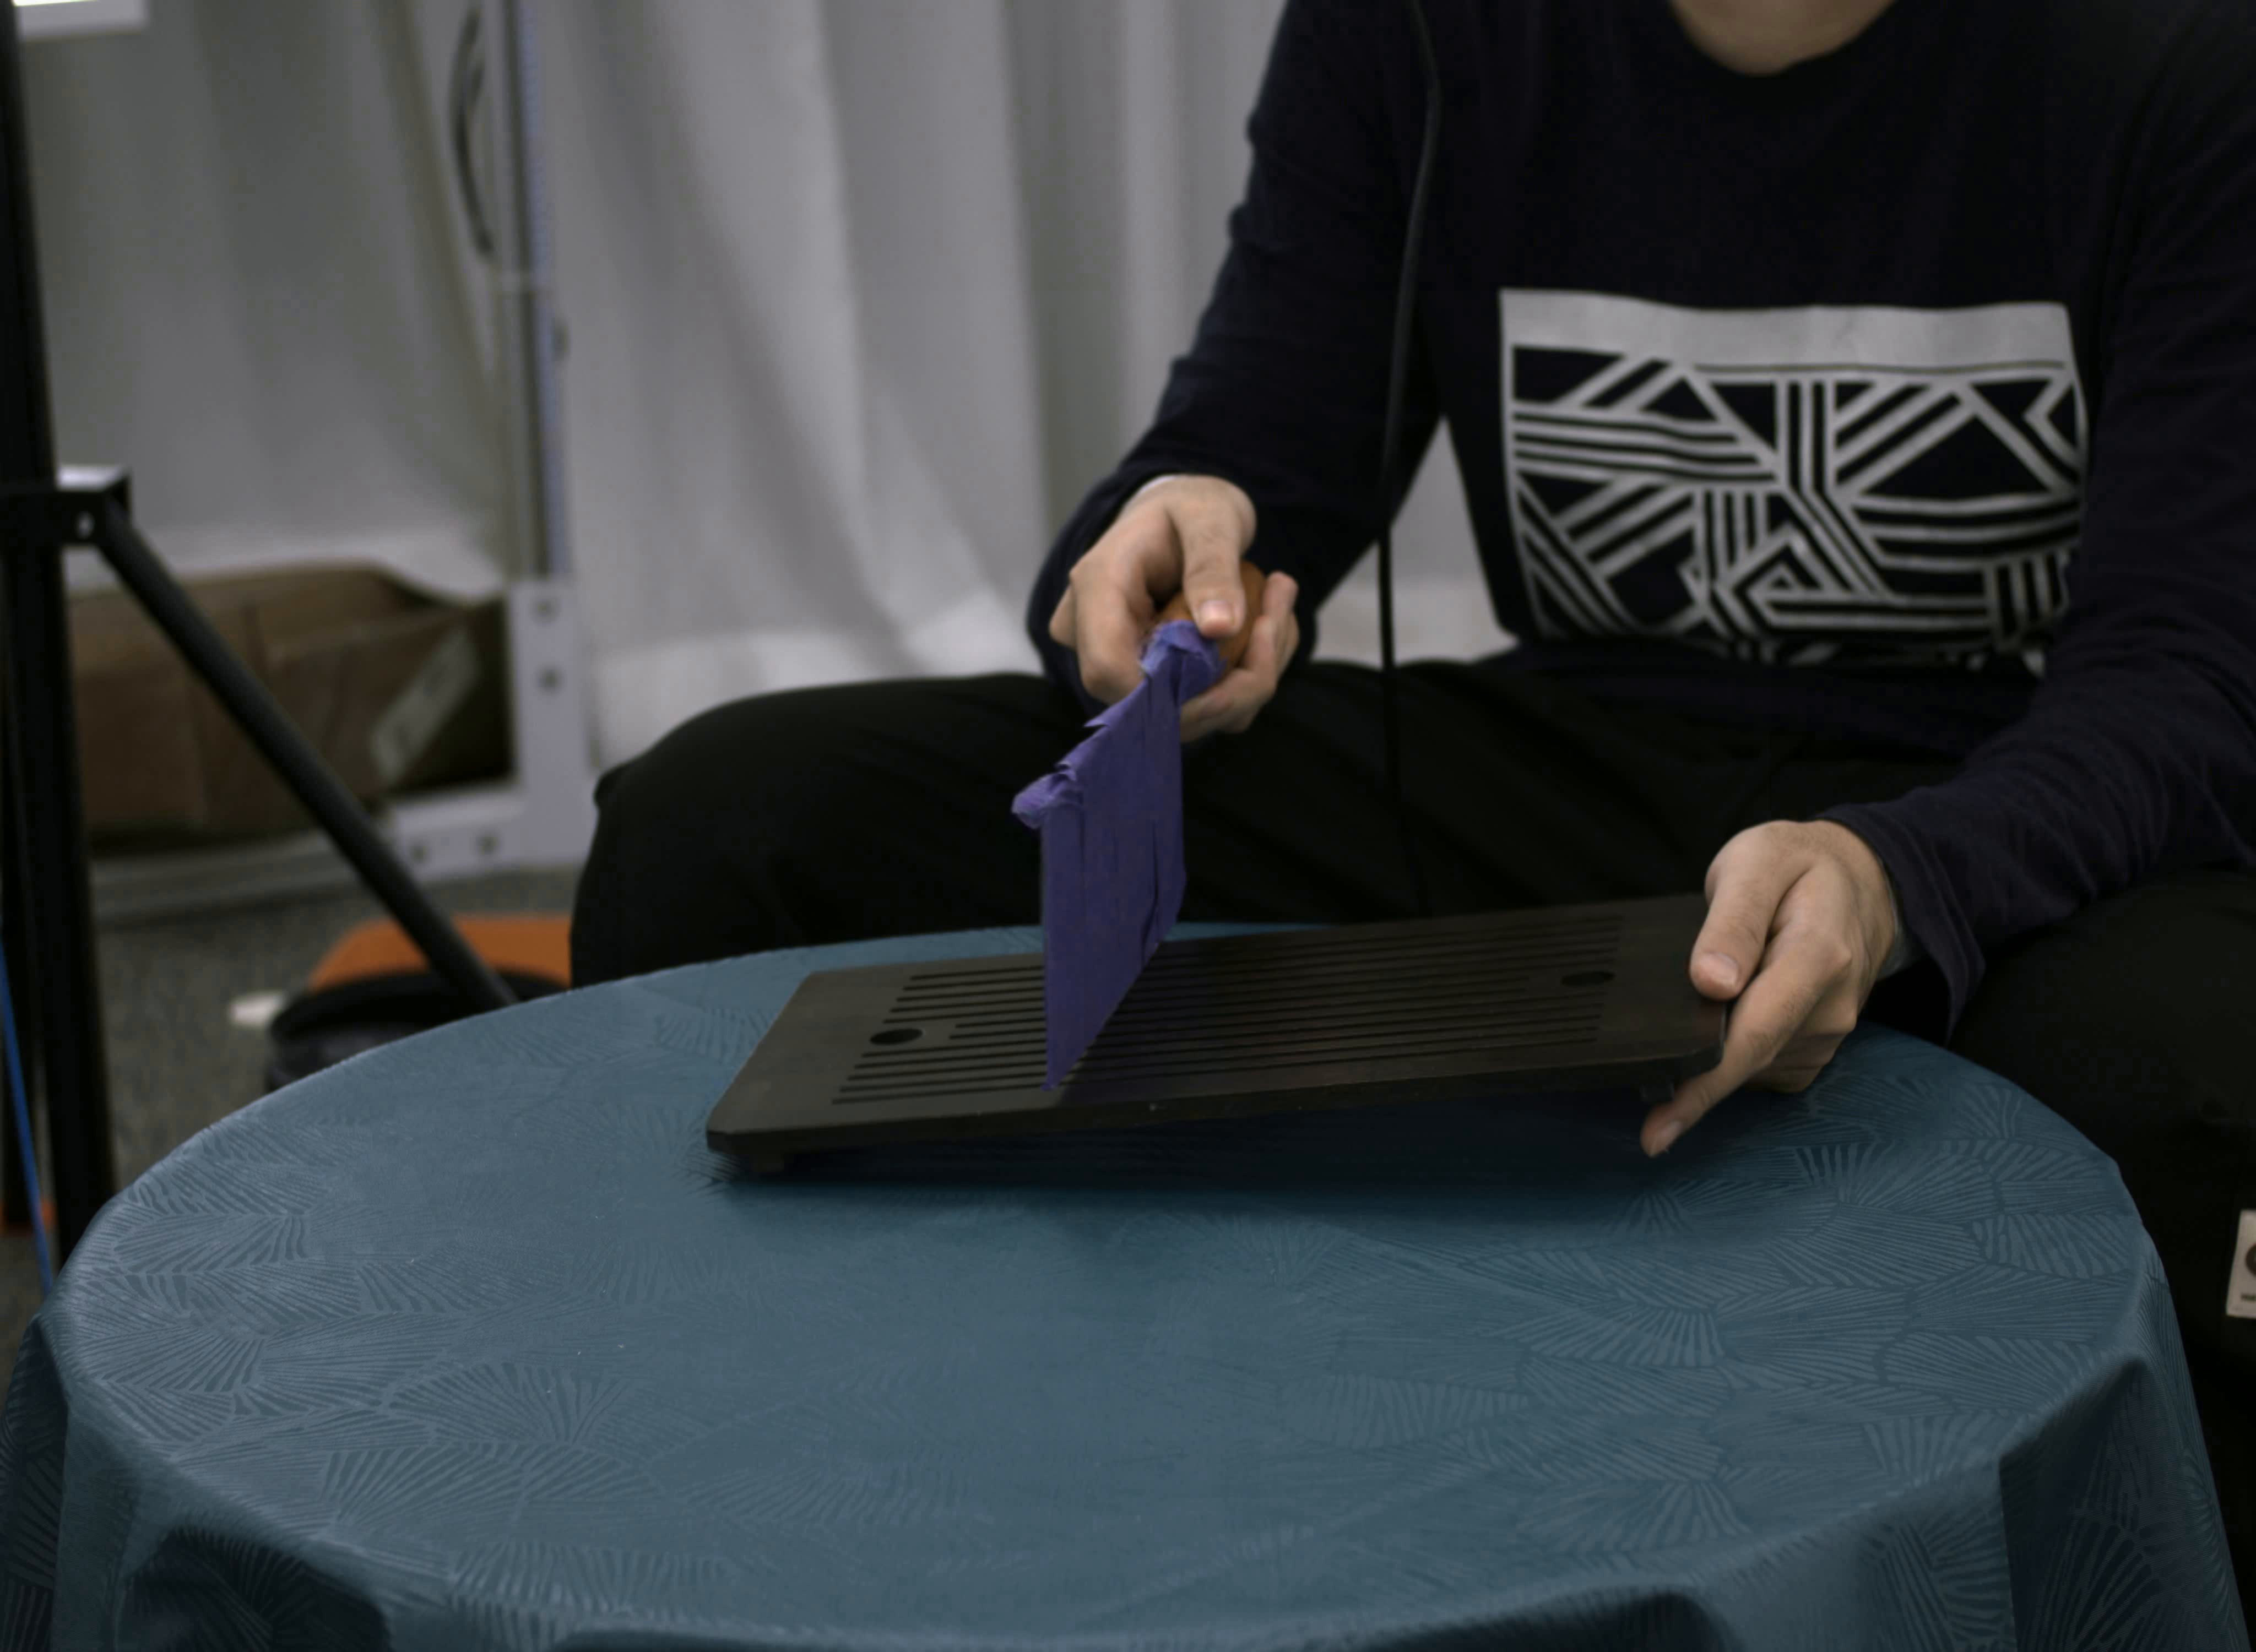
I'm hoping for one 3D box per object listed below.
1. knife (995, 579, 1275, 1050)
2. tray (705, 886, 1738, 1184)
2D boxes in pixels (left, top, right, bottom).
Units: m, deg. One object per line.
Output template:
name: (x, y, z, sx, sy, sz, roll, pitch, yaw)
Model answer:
knife: (0.001, -0.006, 1.693, 0.032, 0.104, 0.312, 3, 14, 14)
tray: (0.033, 0.064, 1.625, 0.307, 0.018, 0.169, -6, 15, 12)
